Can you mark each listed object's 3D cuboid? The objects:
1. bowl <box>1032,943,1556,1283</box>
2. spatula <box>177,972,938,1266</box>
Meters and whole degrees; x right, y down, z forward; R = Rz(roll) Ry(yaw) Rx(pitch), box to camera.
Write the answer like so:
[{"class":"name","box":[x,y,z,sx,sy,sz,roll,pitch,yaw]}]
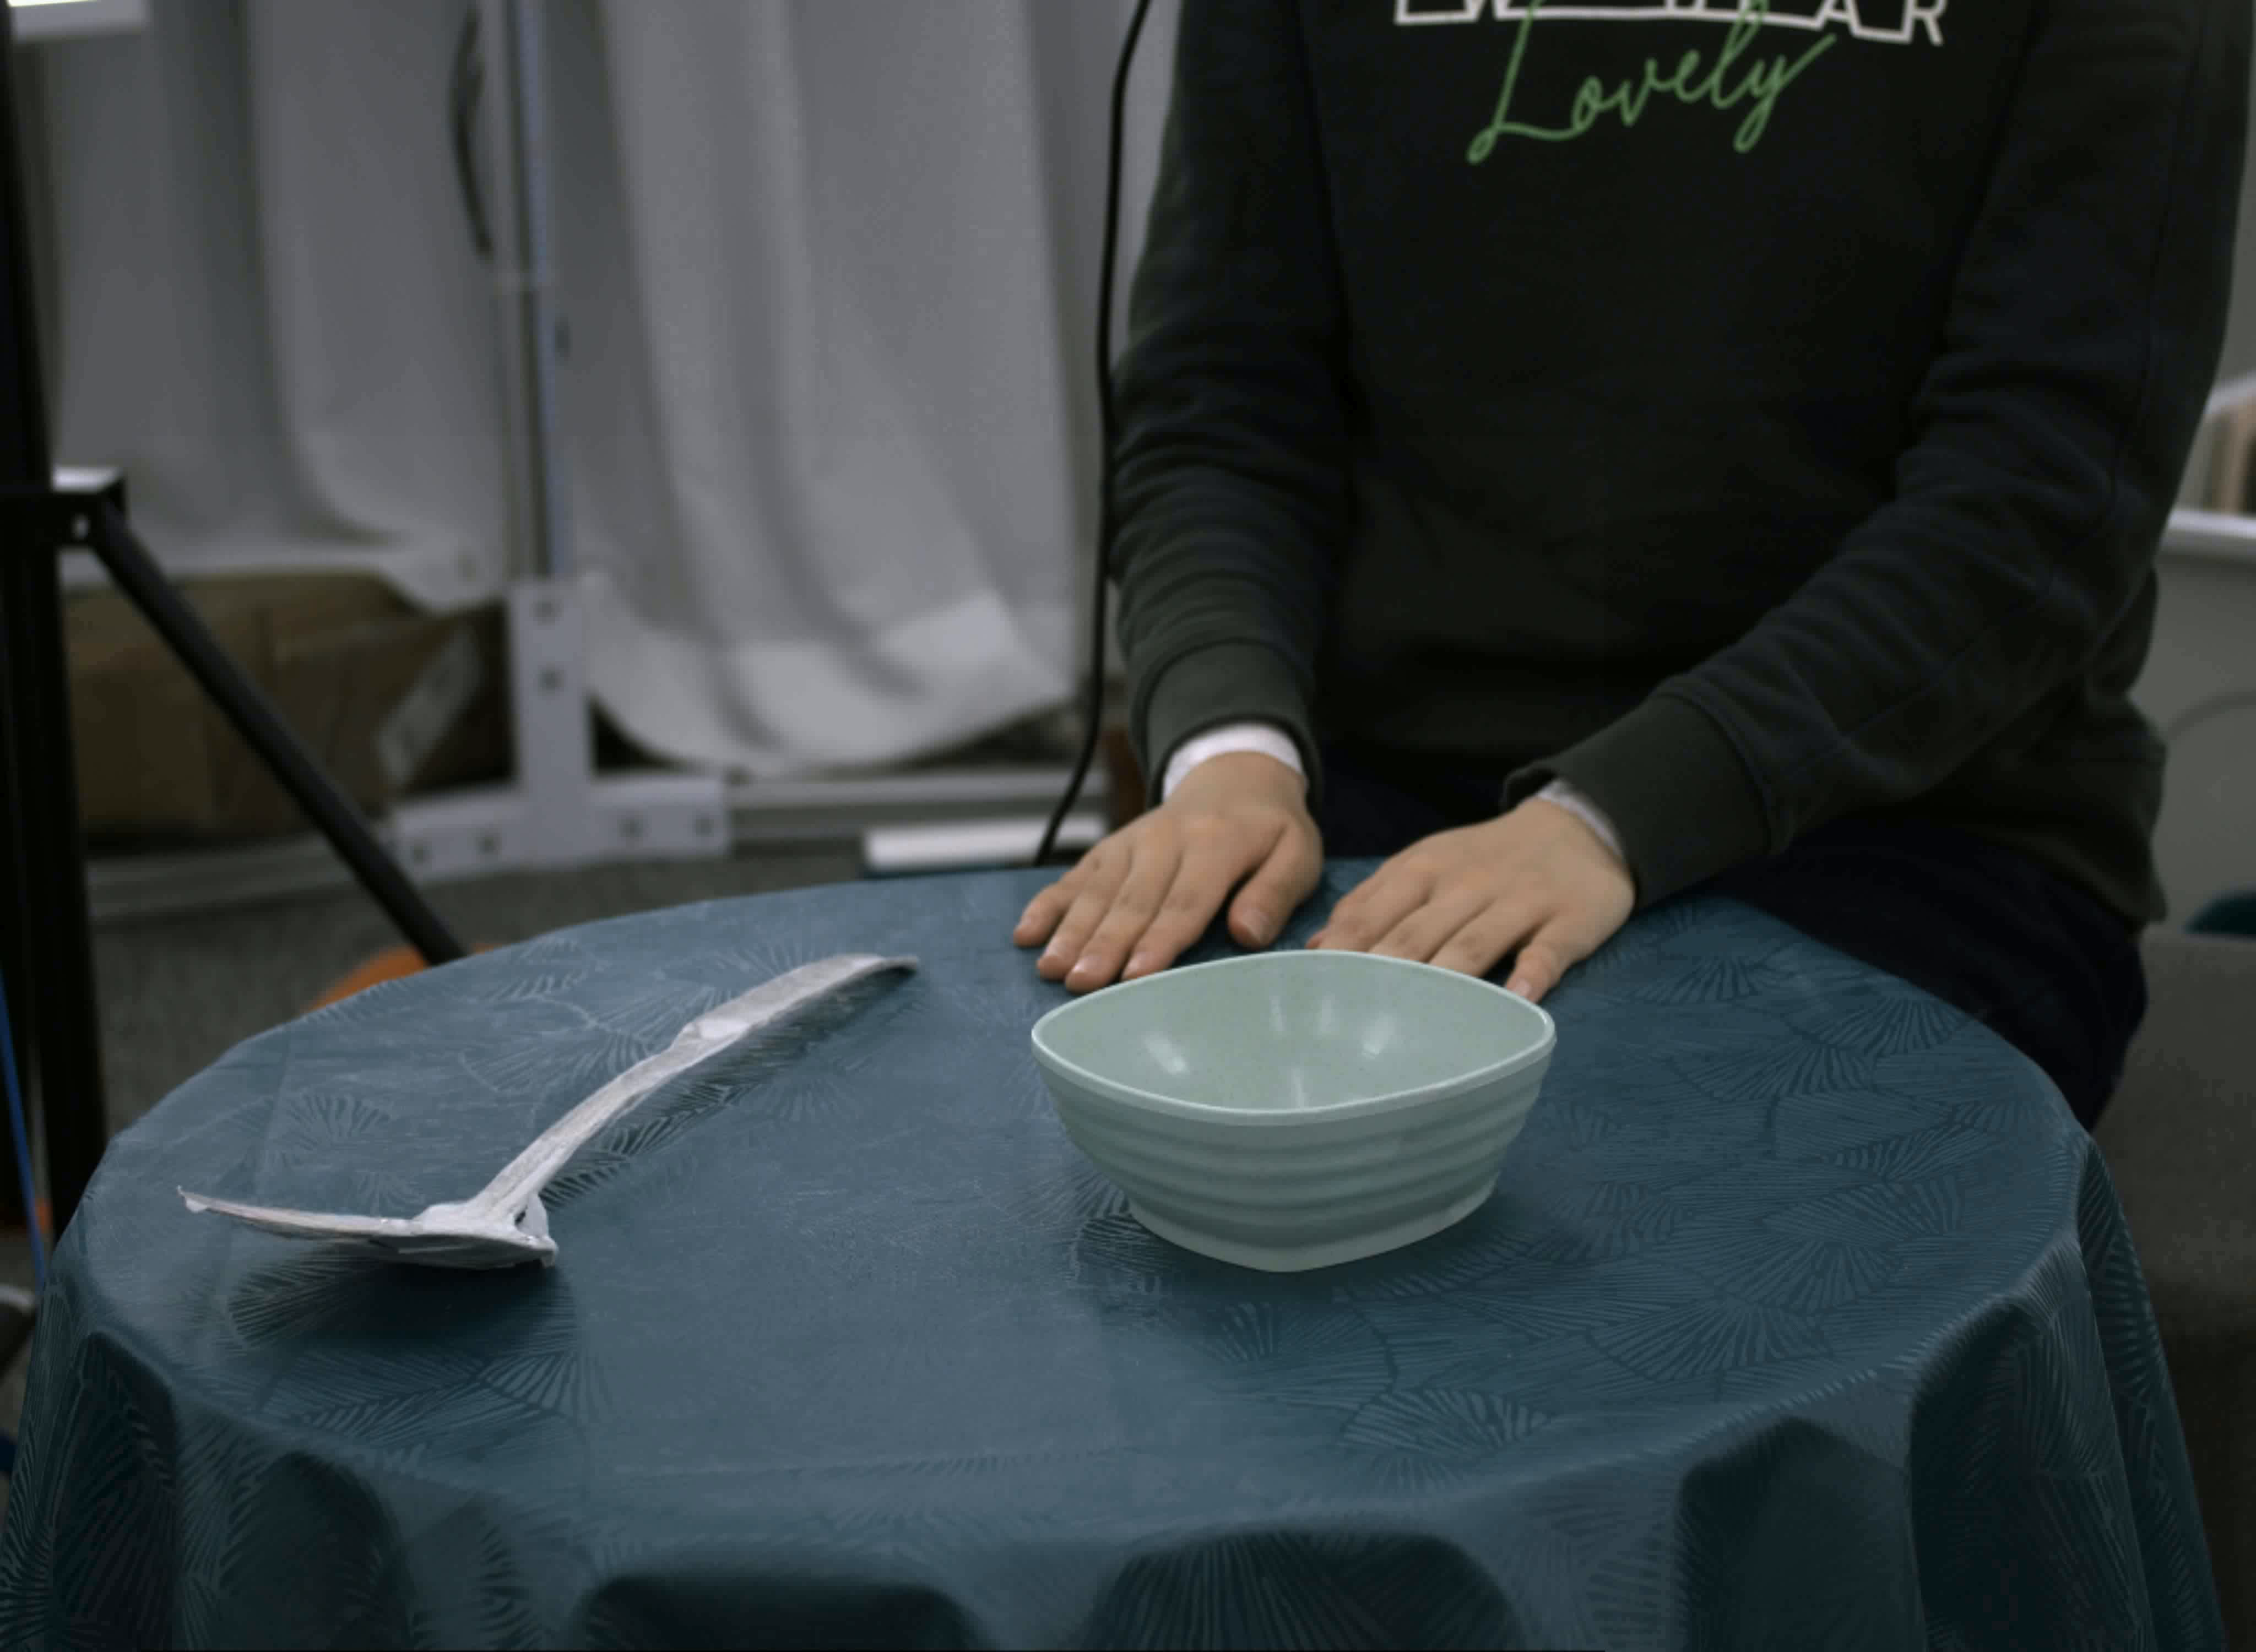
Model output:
[{"class":"bowl","box":[0.048,0.086,1.528,0.151,0.058,0.152,-3,18,0]},{"class":"spatula","box":[-0.151,0.079,1.616,0.100,0.045,0.359,3,17,26]}]
